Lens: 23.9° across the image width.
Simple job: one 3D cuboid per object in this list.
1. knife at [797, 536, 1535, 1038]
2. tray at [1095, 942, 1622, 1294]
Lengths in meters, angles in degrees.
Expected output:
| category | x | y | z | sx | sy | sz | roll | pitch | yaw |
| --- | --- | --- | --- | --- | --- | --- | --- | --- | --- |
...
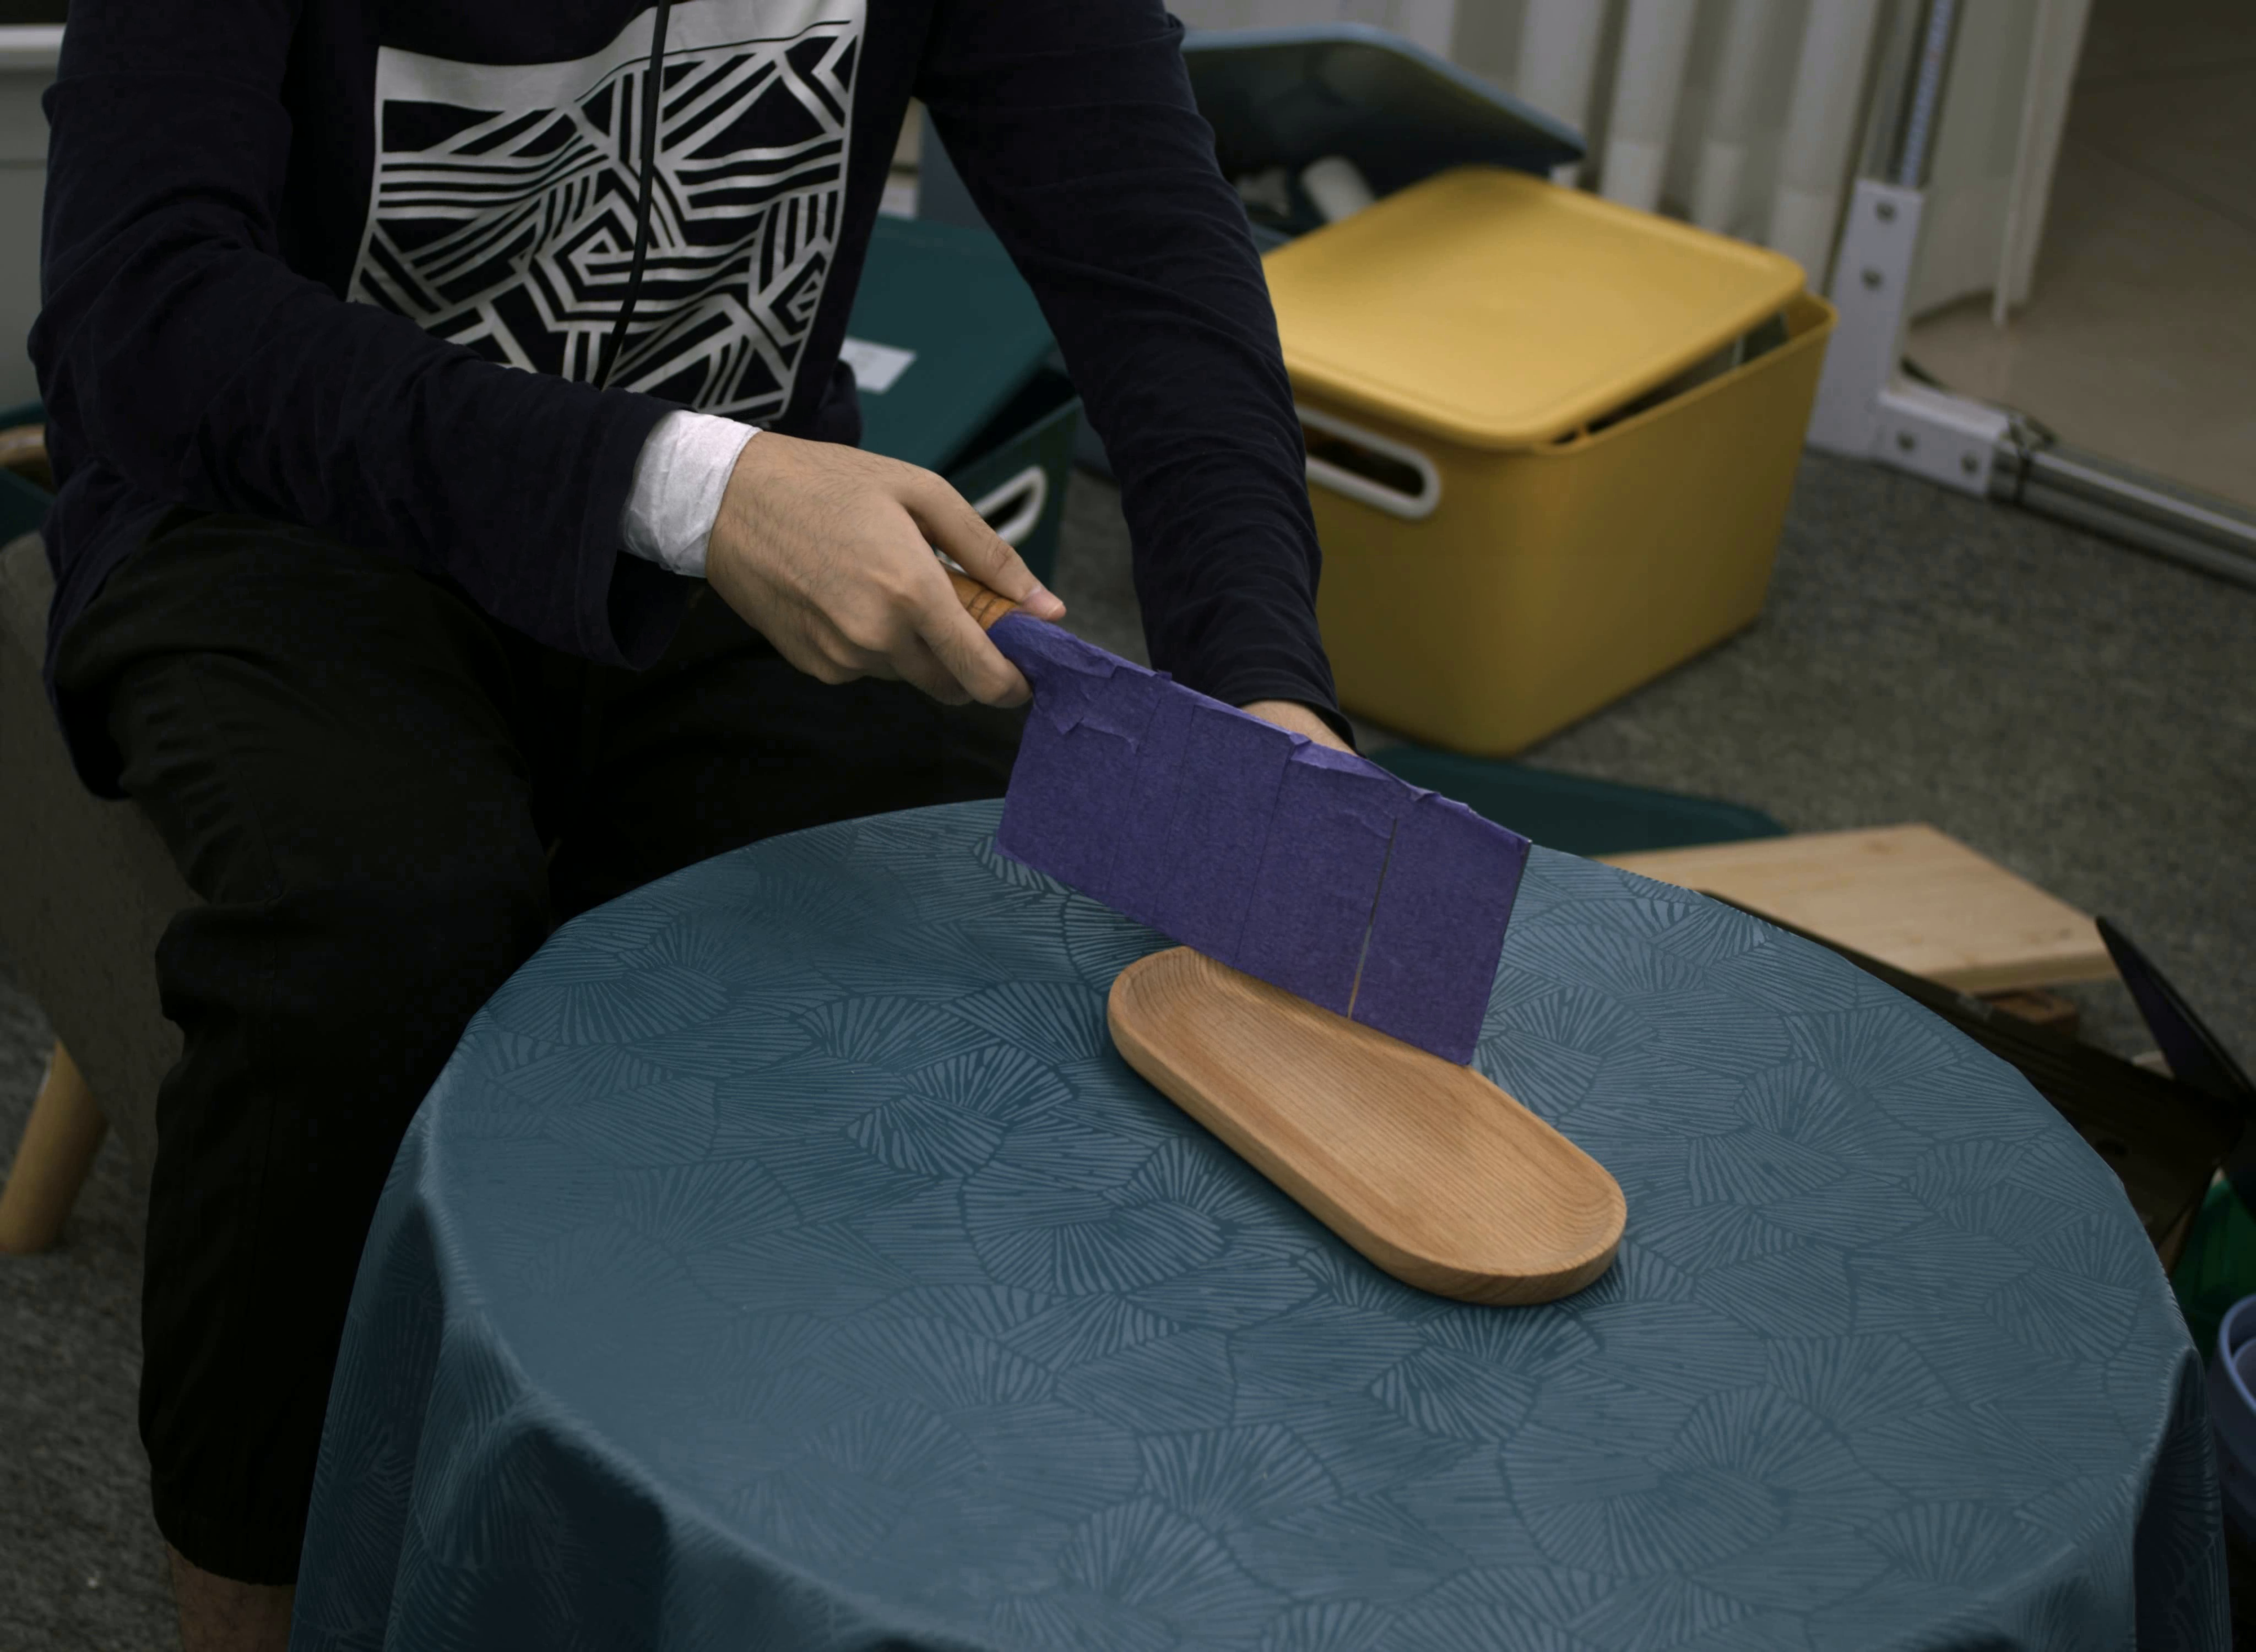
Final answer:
| category | x | y | z | sx | sy | sz | roll | pitch | yaw |
| --- | --- | --- | --- | --- | --- | --- | --- | --- | --- |
| knife | 0.002 | -0.013 | 1.923 | 0.317 | 0.104 | 0.032 | 24 | 19 | 30 |
| tray | 0.077 | 0.099 | 1.848 | 0.101 | 0.020 | 0.233 | -13 | 32 | -36 |
